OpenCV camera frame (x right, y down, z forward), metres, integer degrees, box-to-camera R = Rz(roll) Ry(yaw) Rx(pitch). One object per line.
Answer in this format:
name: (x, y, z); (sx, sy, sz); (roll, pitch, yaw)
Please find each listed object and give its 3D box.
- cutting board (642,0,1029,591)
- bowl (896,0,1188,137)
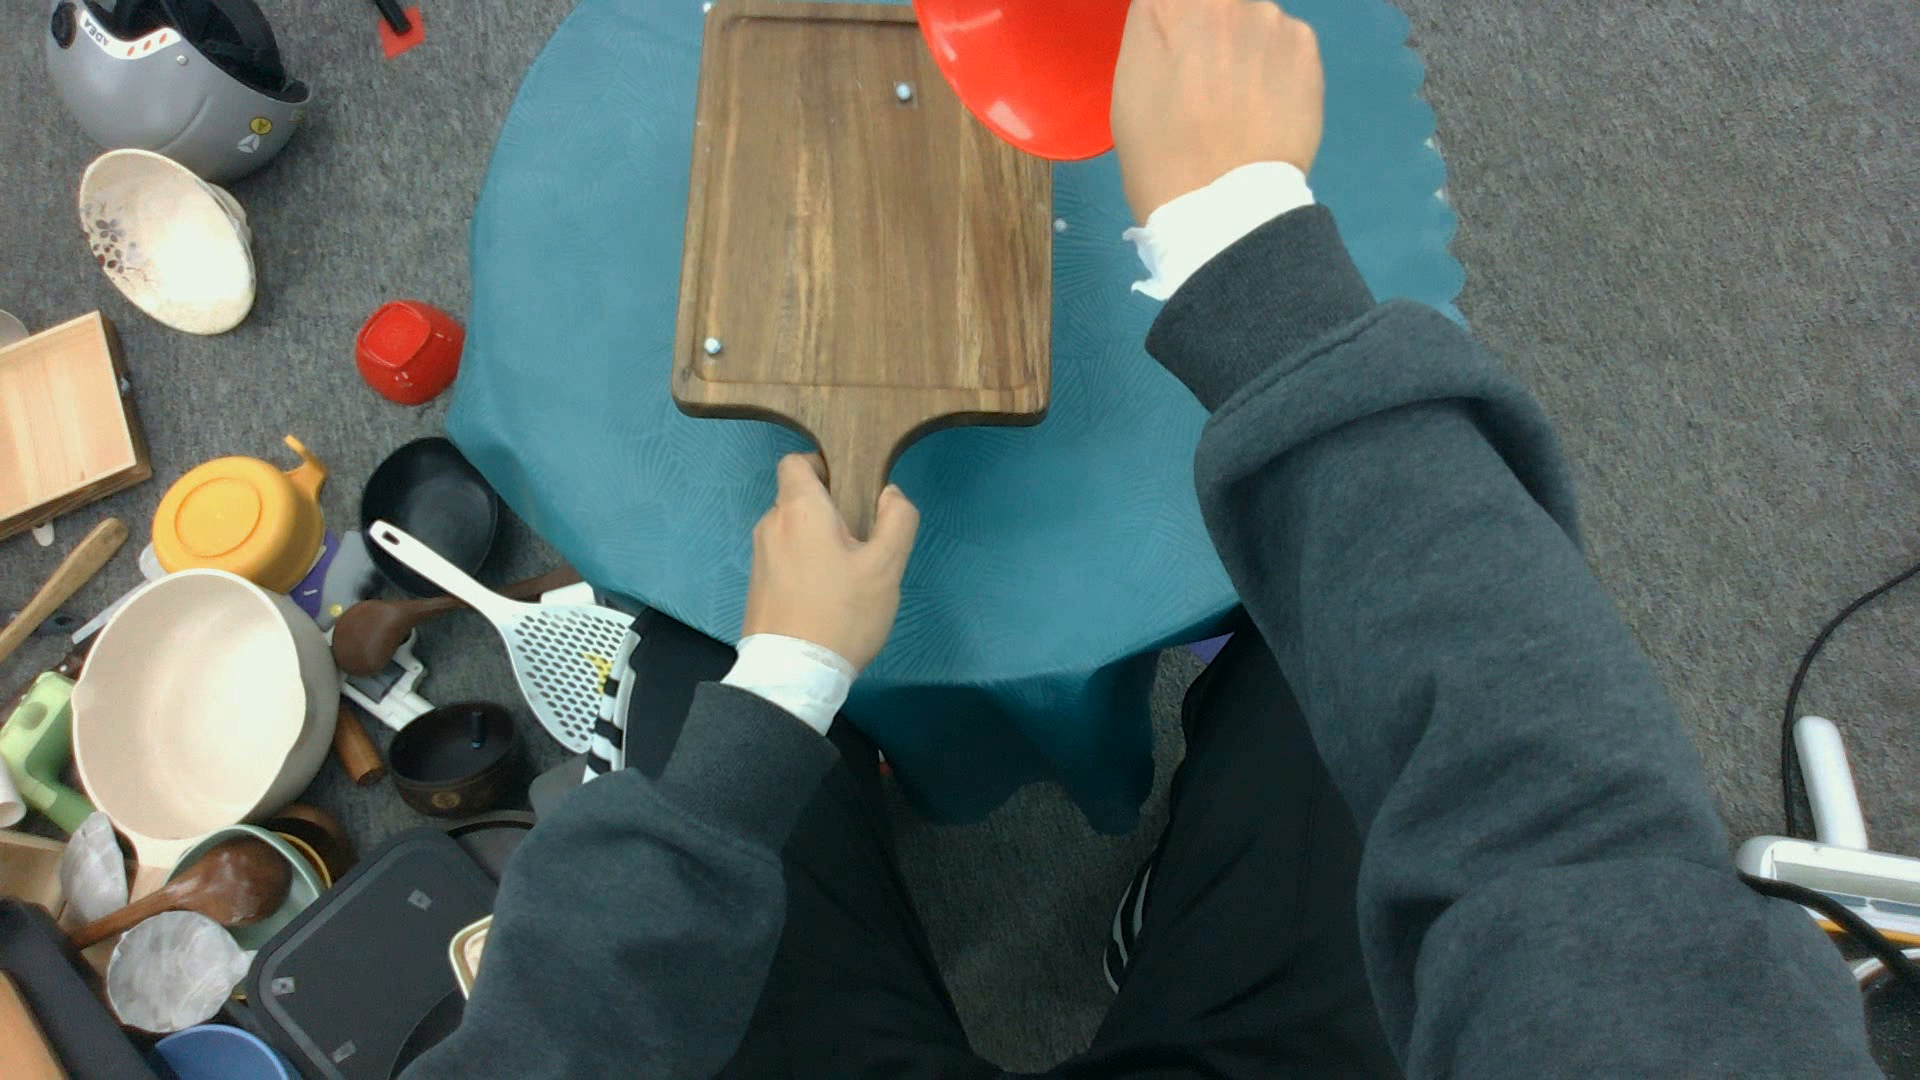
cutting board: (-0.064, -0.144, 0.729); (0.201, 0.023, 0.353); (1, 71, -2)
bowl: (0.049, -0.264, 0.597); (0.105, 0.147, 0.148); (-36, 72, -22)
